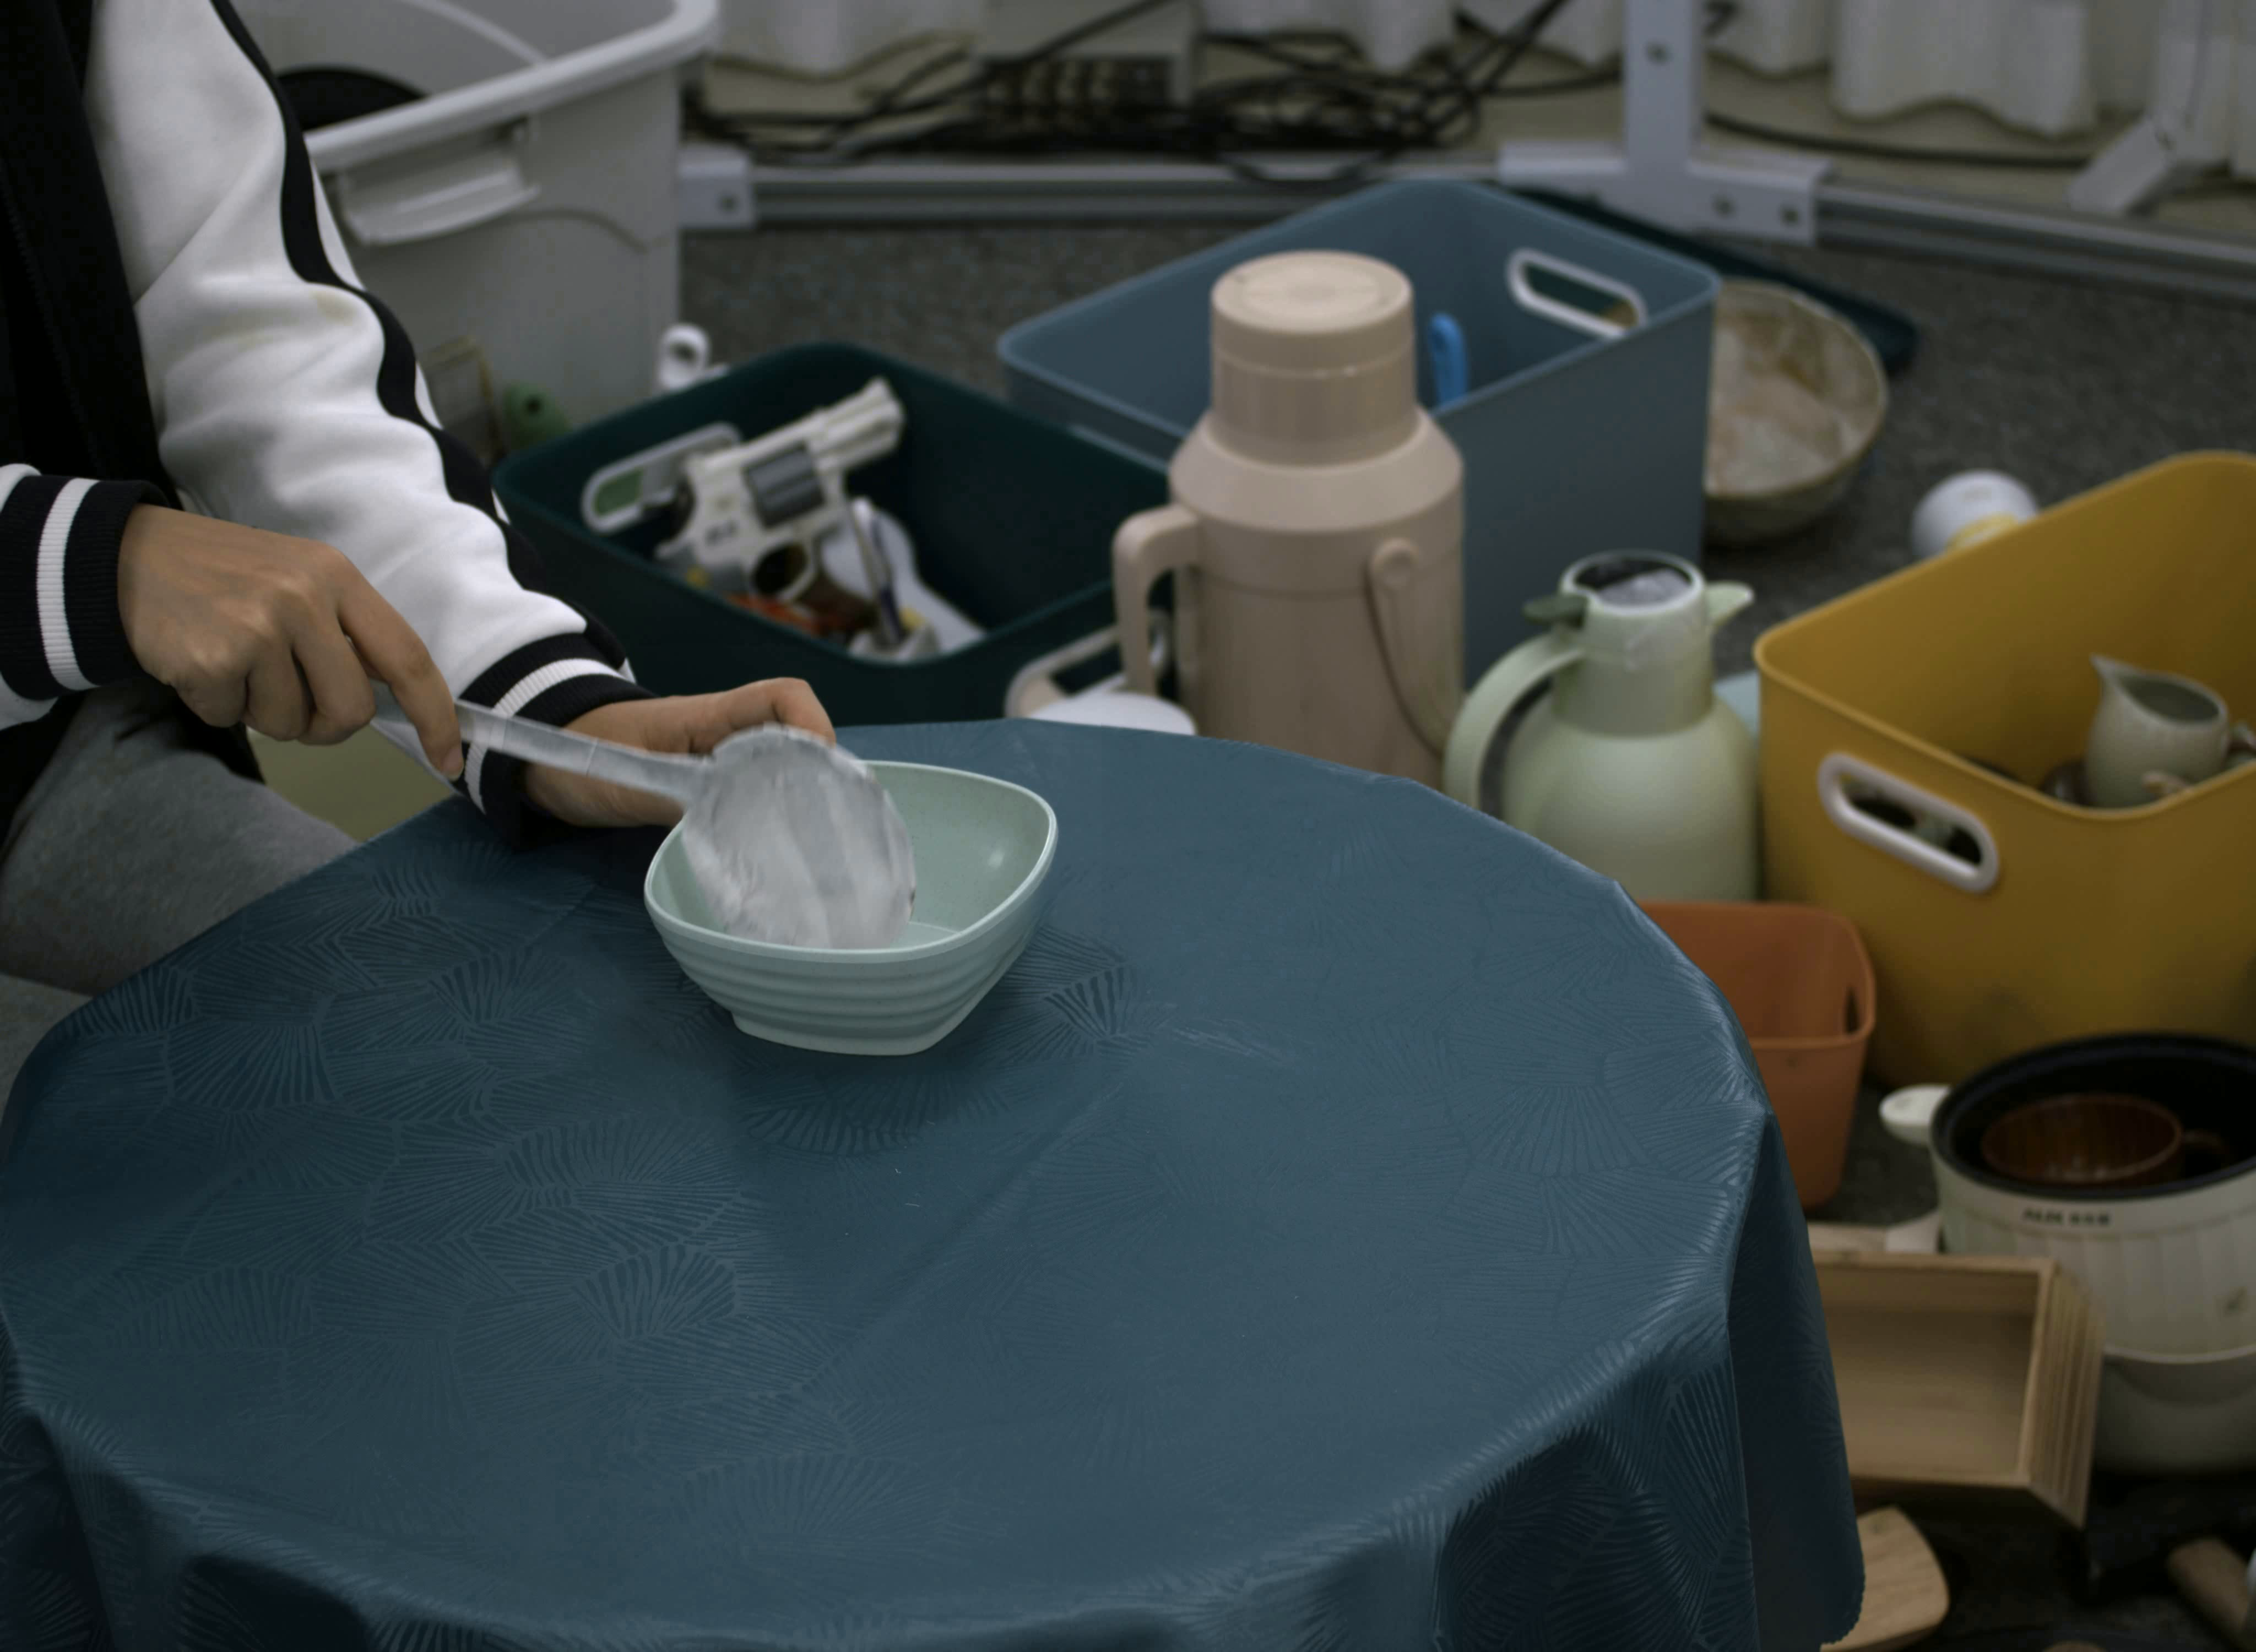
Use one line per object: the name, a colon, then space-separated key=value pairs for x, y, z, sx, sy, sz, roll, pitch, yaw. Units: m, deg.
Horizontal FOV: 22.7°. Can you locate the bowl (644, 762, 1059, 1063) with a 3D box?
bowl: x=-0.095 y=0.036 z=1.978 sx=0.151 sy=0.058 sz=0.154 roll=-2 pitch=28 yaw=2

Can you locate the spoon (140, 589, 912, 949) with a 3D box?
spoon: x=-0.204 y=-0.021 z=1.912 sx=0.276 sy=0.099 sz=0.060 roll=19 pitch=26 yaw=-17
